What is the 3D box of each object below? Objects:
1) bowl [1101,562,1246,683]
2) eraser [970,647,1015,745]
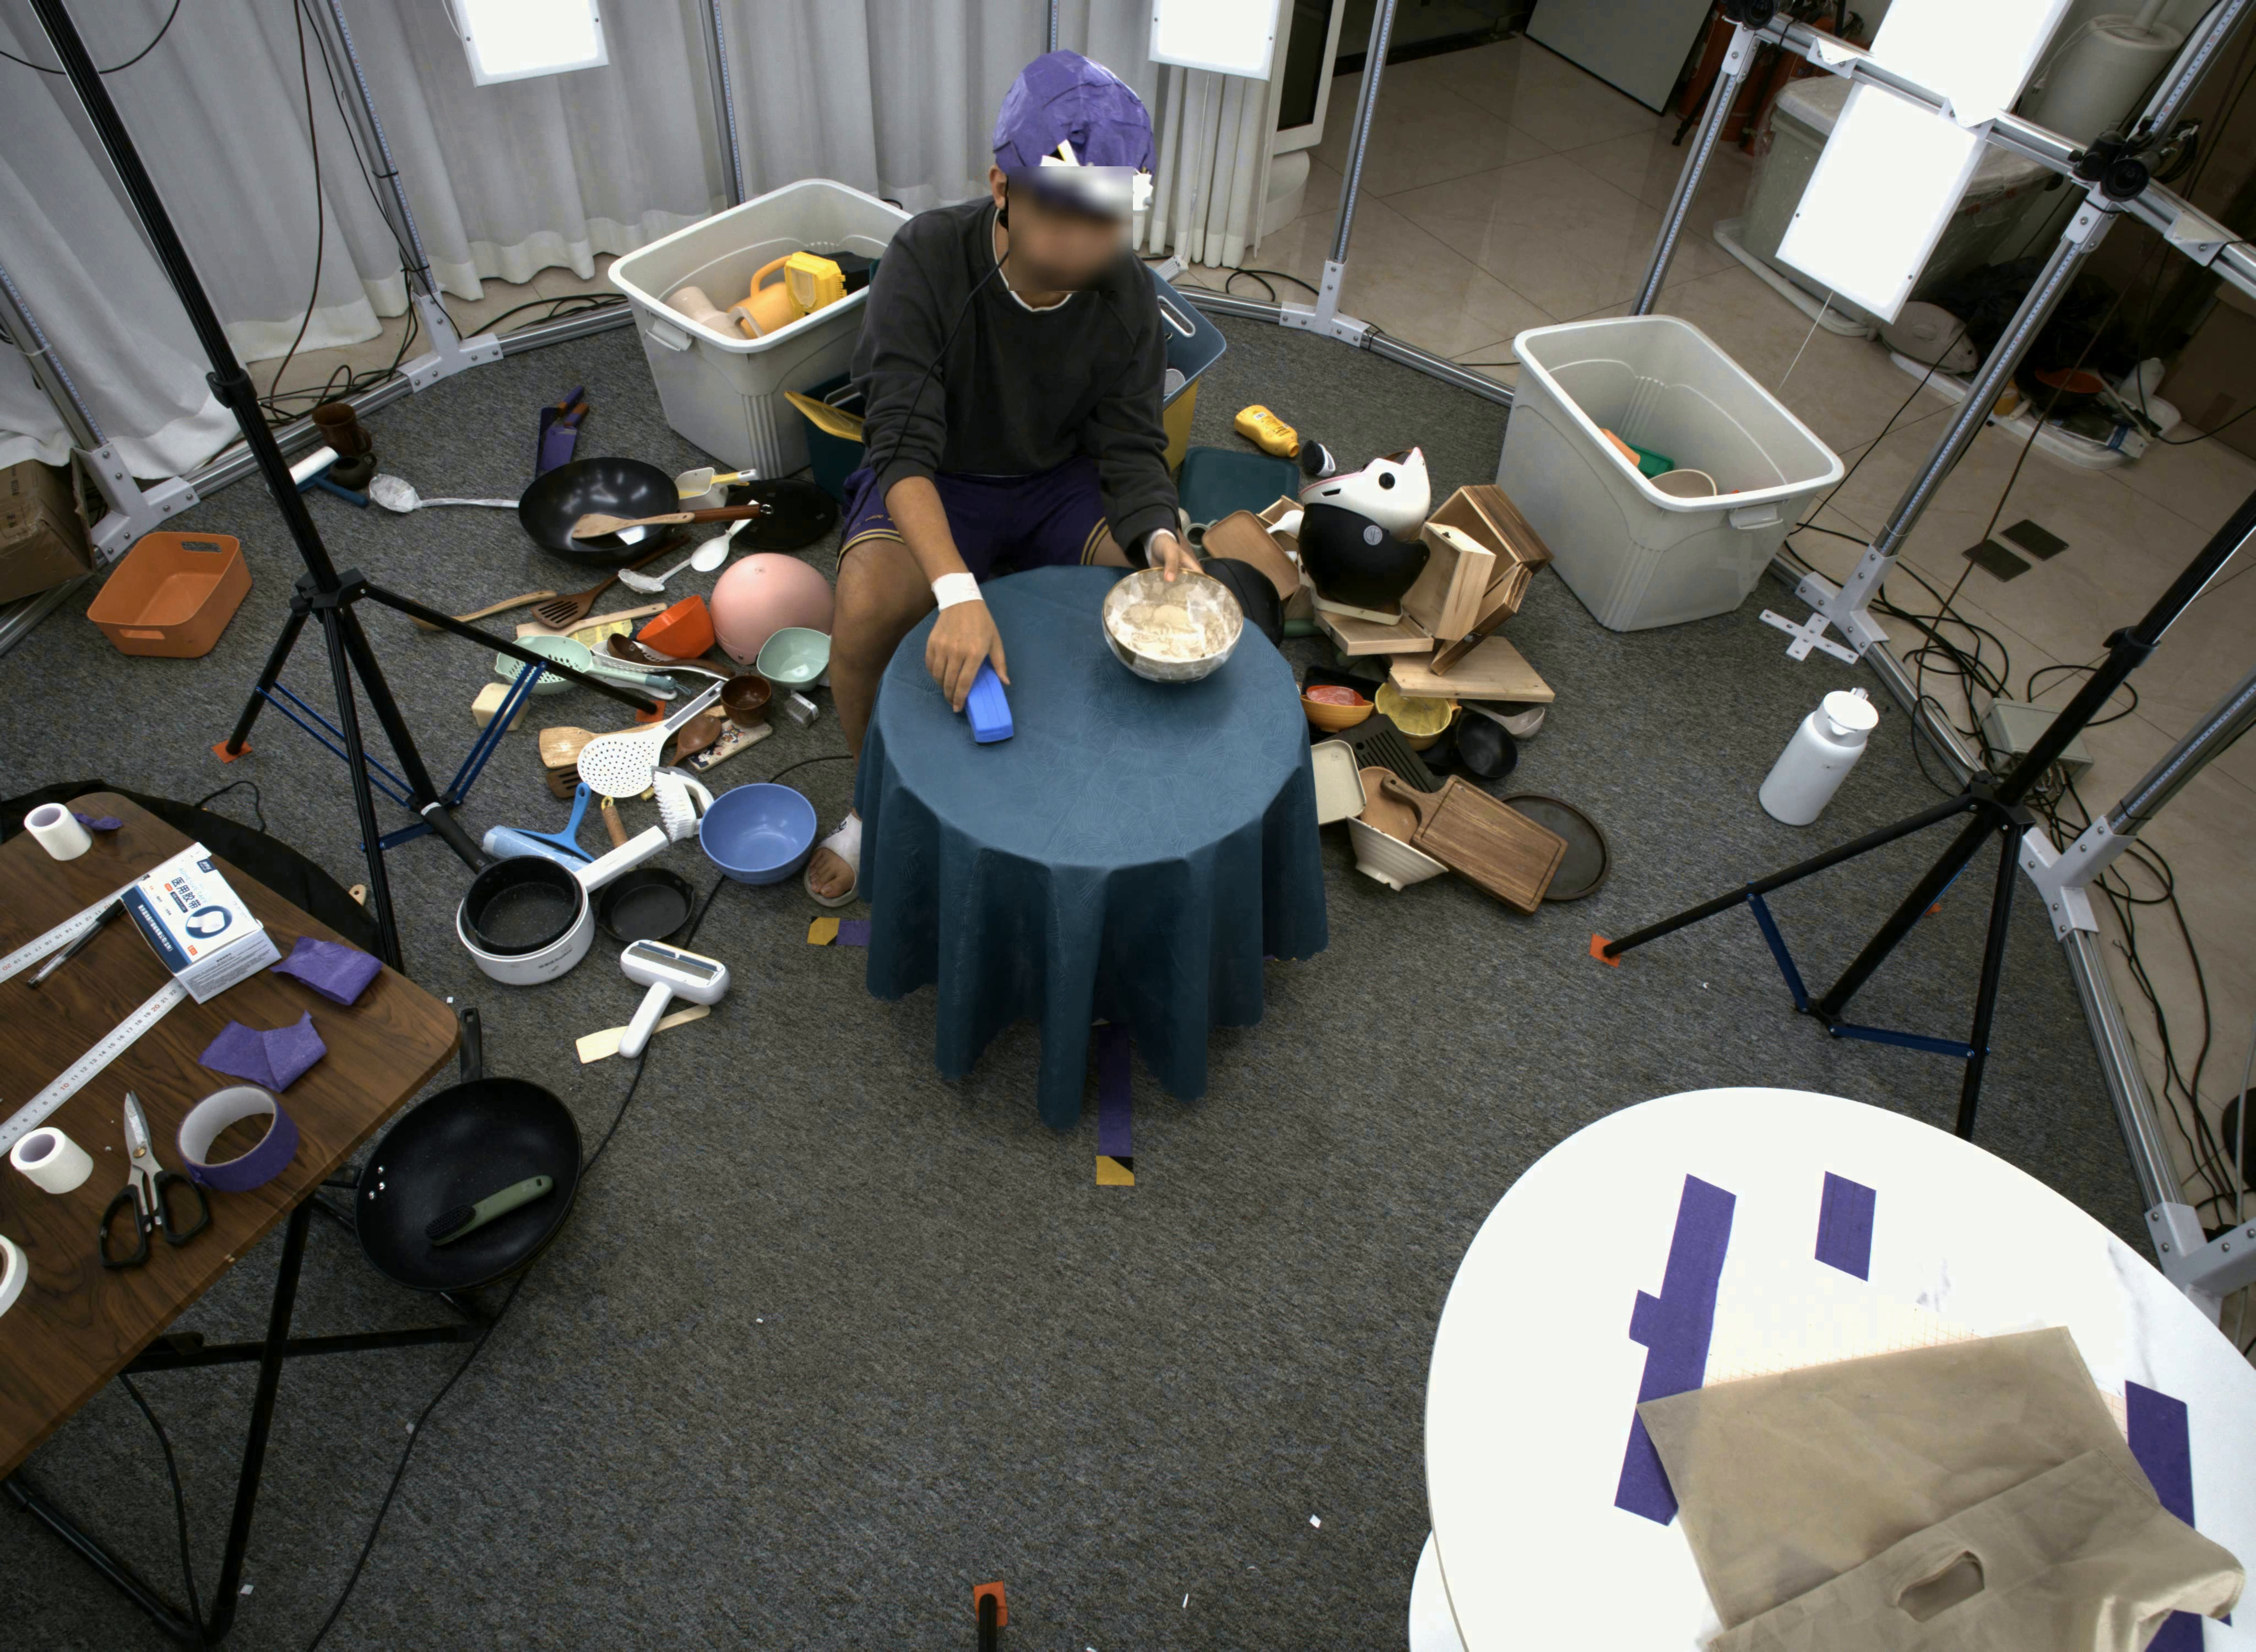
[{"bbox_3d":[0.062,-0.278,1.851,0.214,0.092,0.220,1,50,-1],"label":"bowl"},{"bbox_3d":[-0.189,-0.187,1.783,0.054,0.046,0.166,-7,51,-3],"label":"eraser"}]
